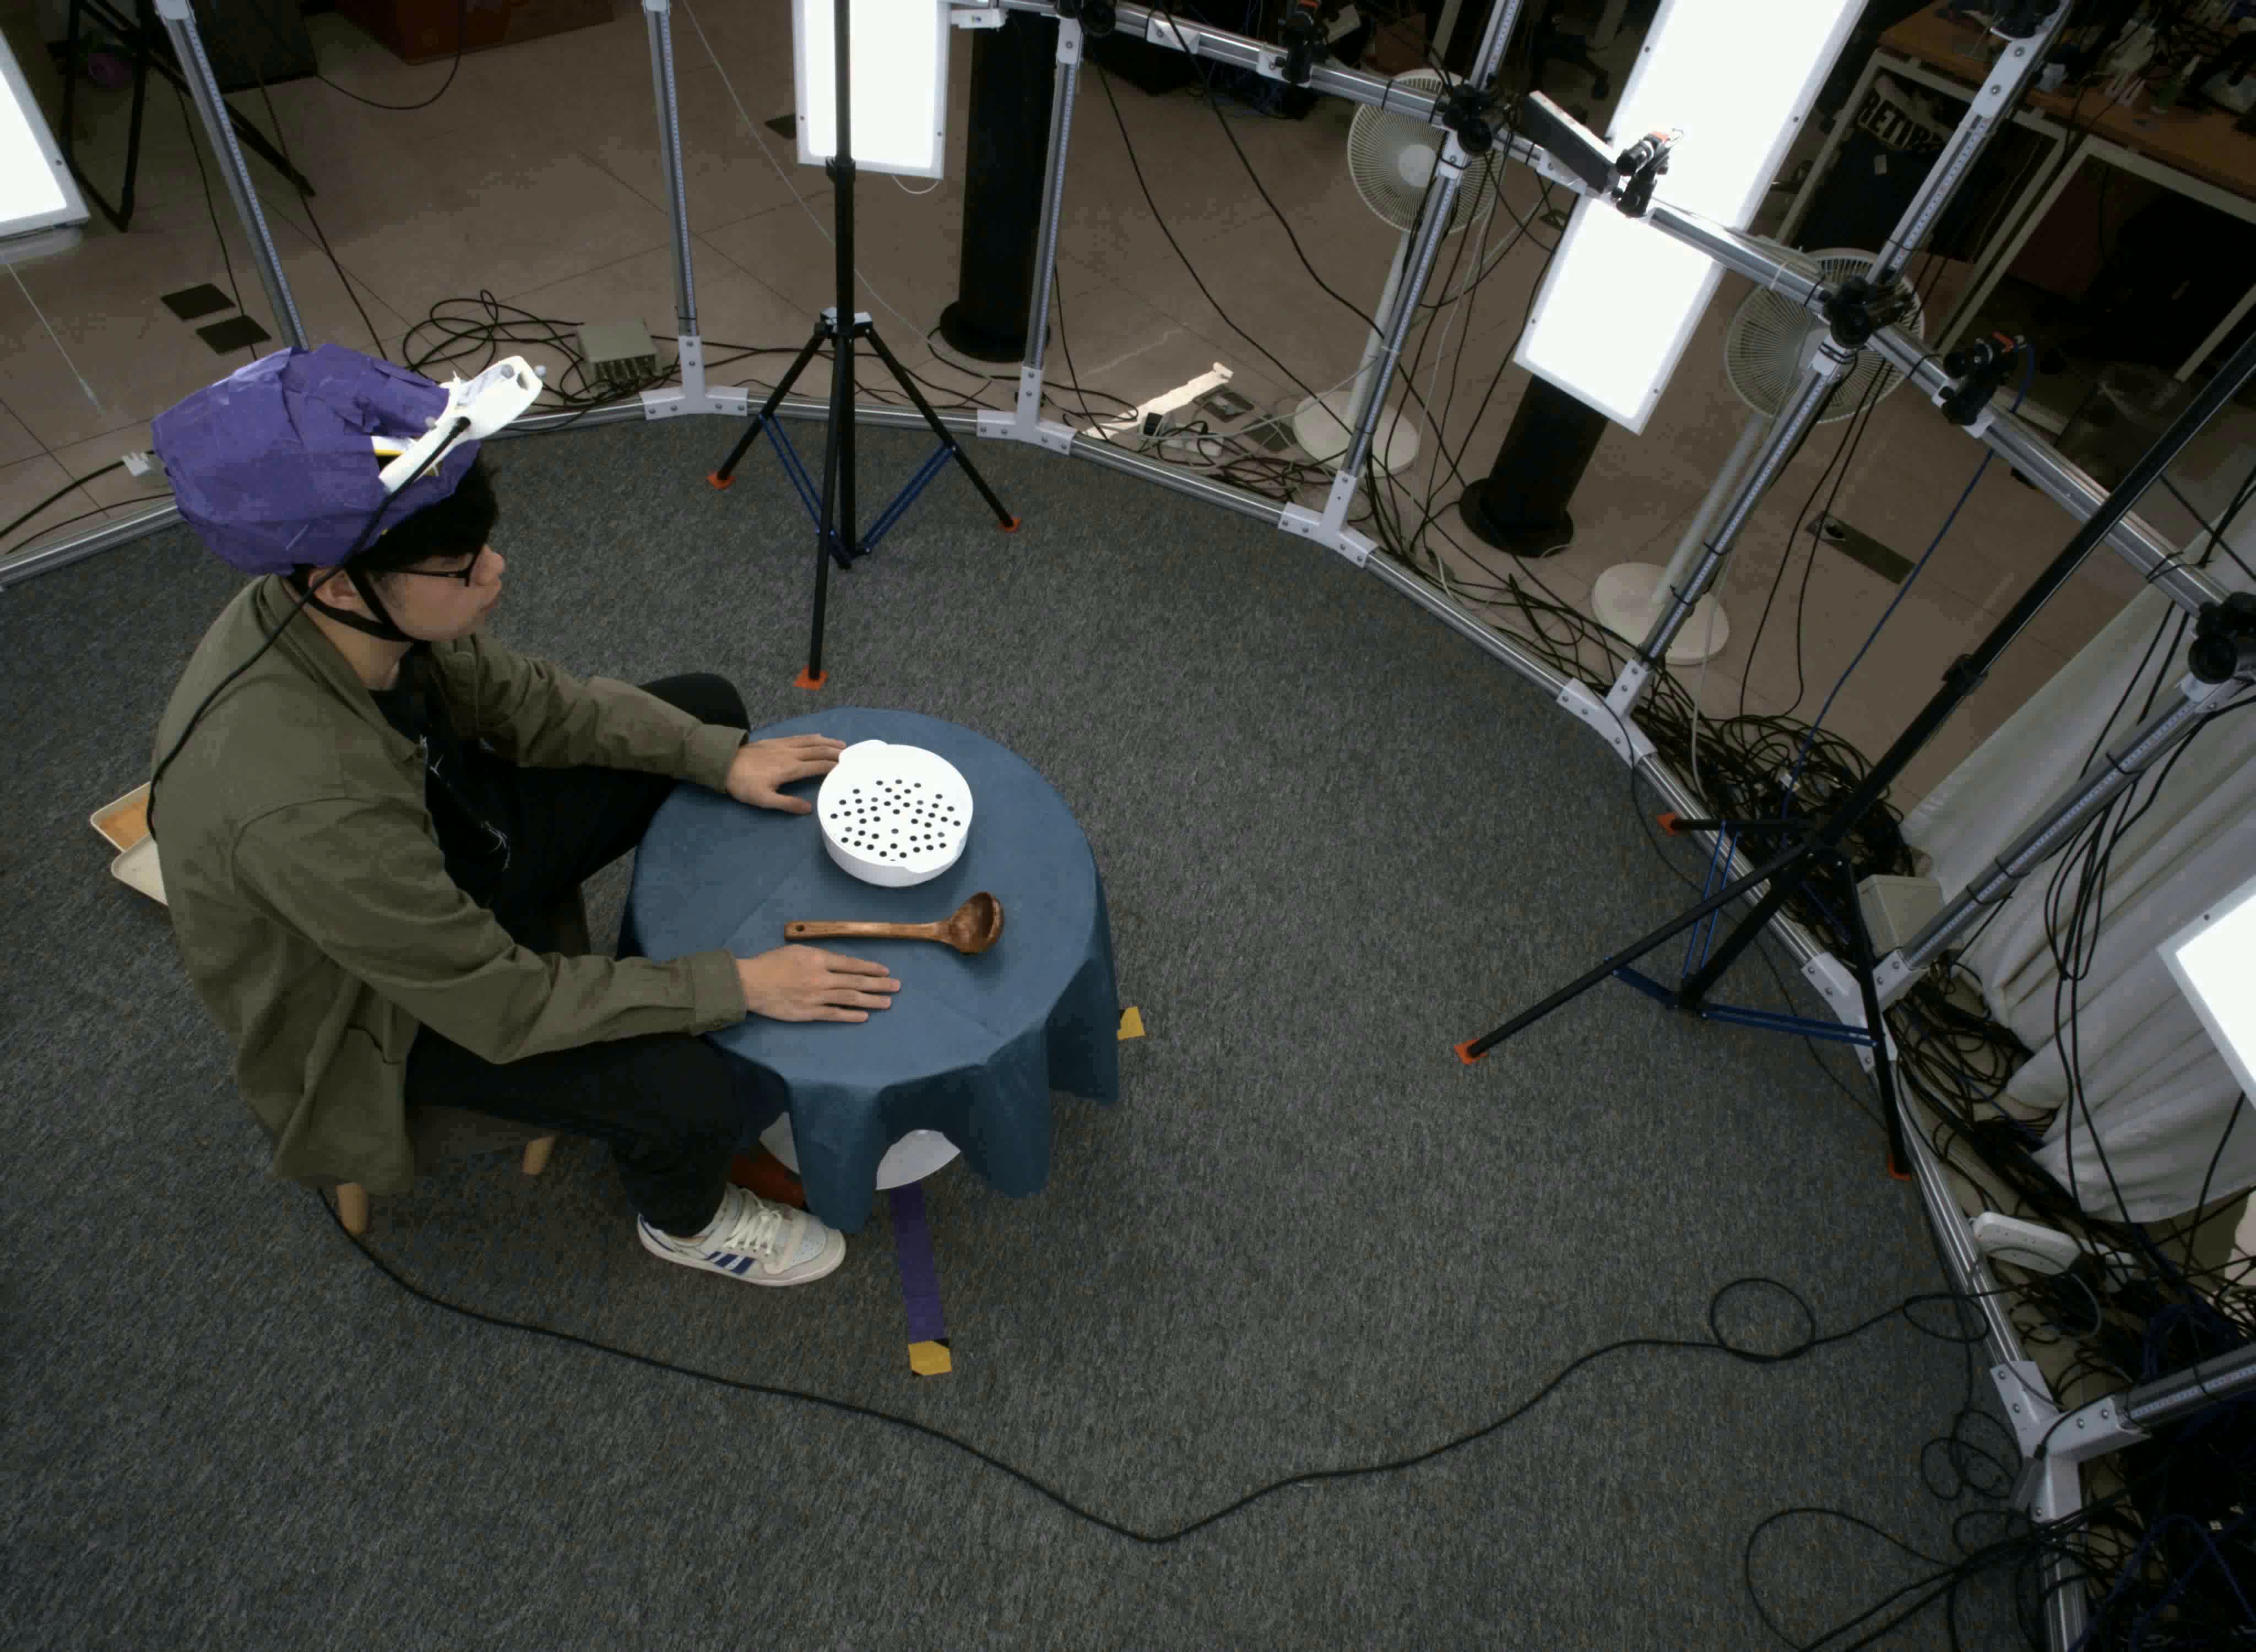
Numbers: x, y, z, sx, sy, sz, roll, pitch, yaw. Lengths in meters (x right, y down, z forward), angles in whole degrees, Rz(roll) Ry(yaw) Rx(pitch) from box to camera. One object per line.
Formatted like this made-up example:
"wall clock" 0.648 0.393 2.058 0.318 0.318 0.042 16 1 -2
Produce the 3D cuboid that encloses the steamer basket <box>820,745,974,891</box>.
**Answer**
"steamer basket" -0.307 -0.007 1.732 0.203 0.071 0.224 -23 60 -27

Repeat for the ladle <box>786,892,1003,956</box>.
"ladle" -0.293 0.120 1.635 0.274 0.078 0.080 2 57 -11
